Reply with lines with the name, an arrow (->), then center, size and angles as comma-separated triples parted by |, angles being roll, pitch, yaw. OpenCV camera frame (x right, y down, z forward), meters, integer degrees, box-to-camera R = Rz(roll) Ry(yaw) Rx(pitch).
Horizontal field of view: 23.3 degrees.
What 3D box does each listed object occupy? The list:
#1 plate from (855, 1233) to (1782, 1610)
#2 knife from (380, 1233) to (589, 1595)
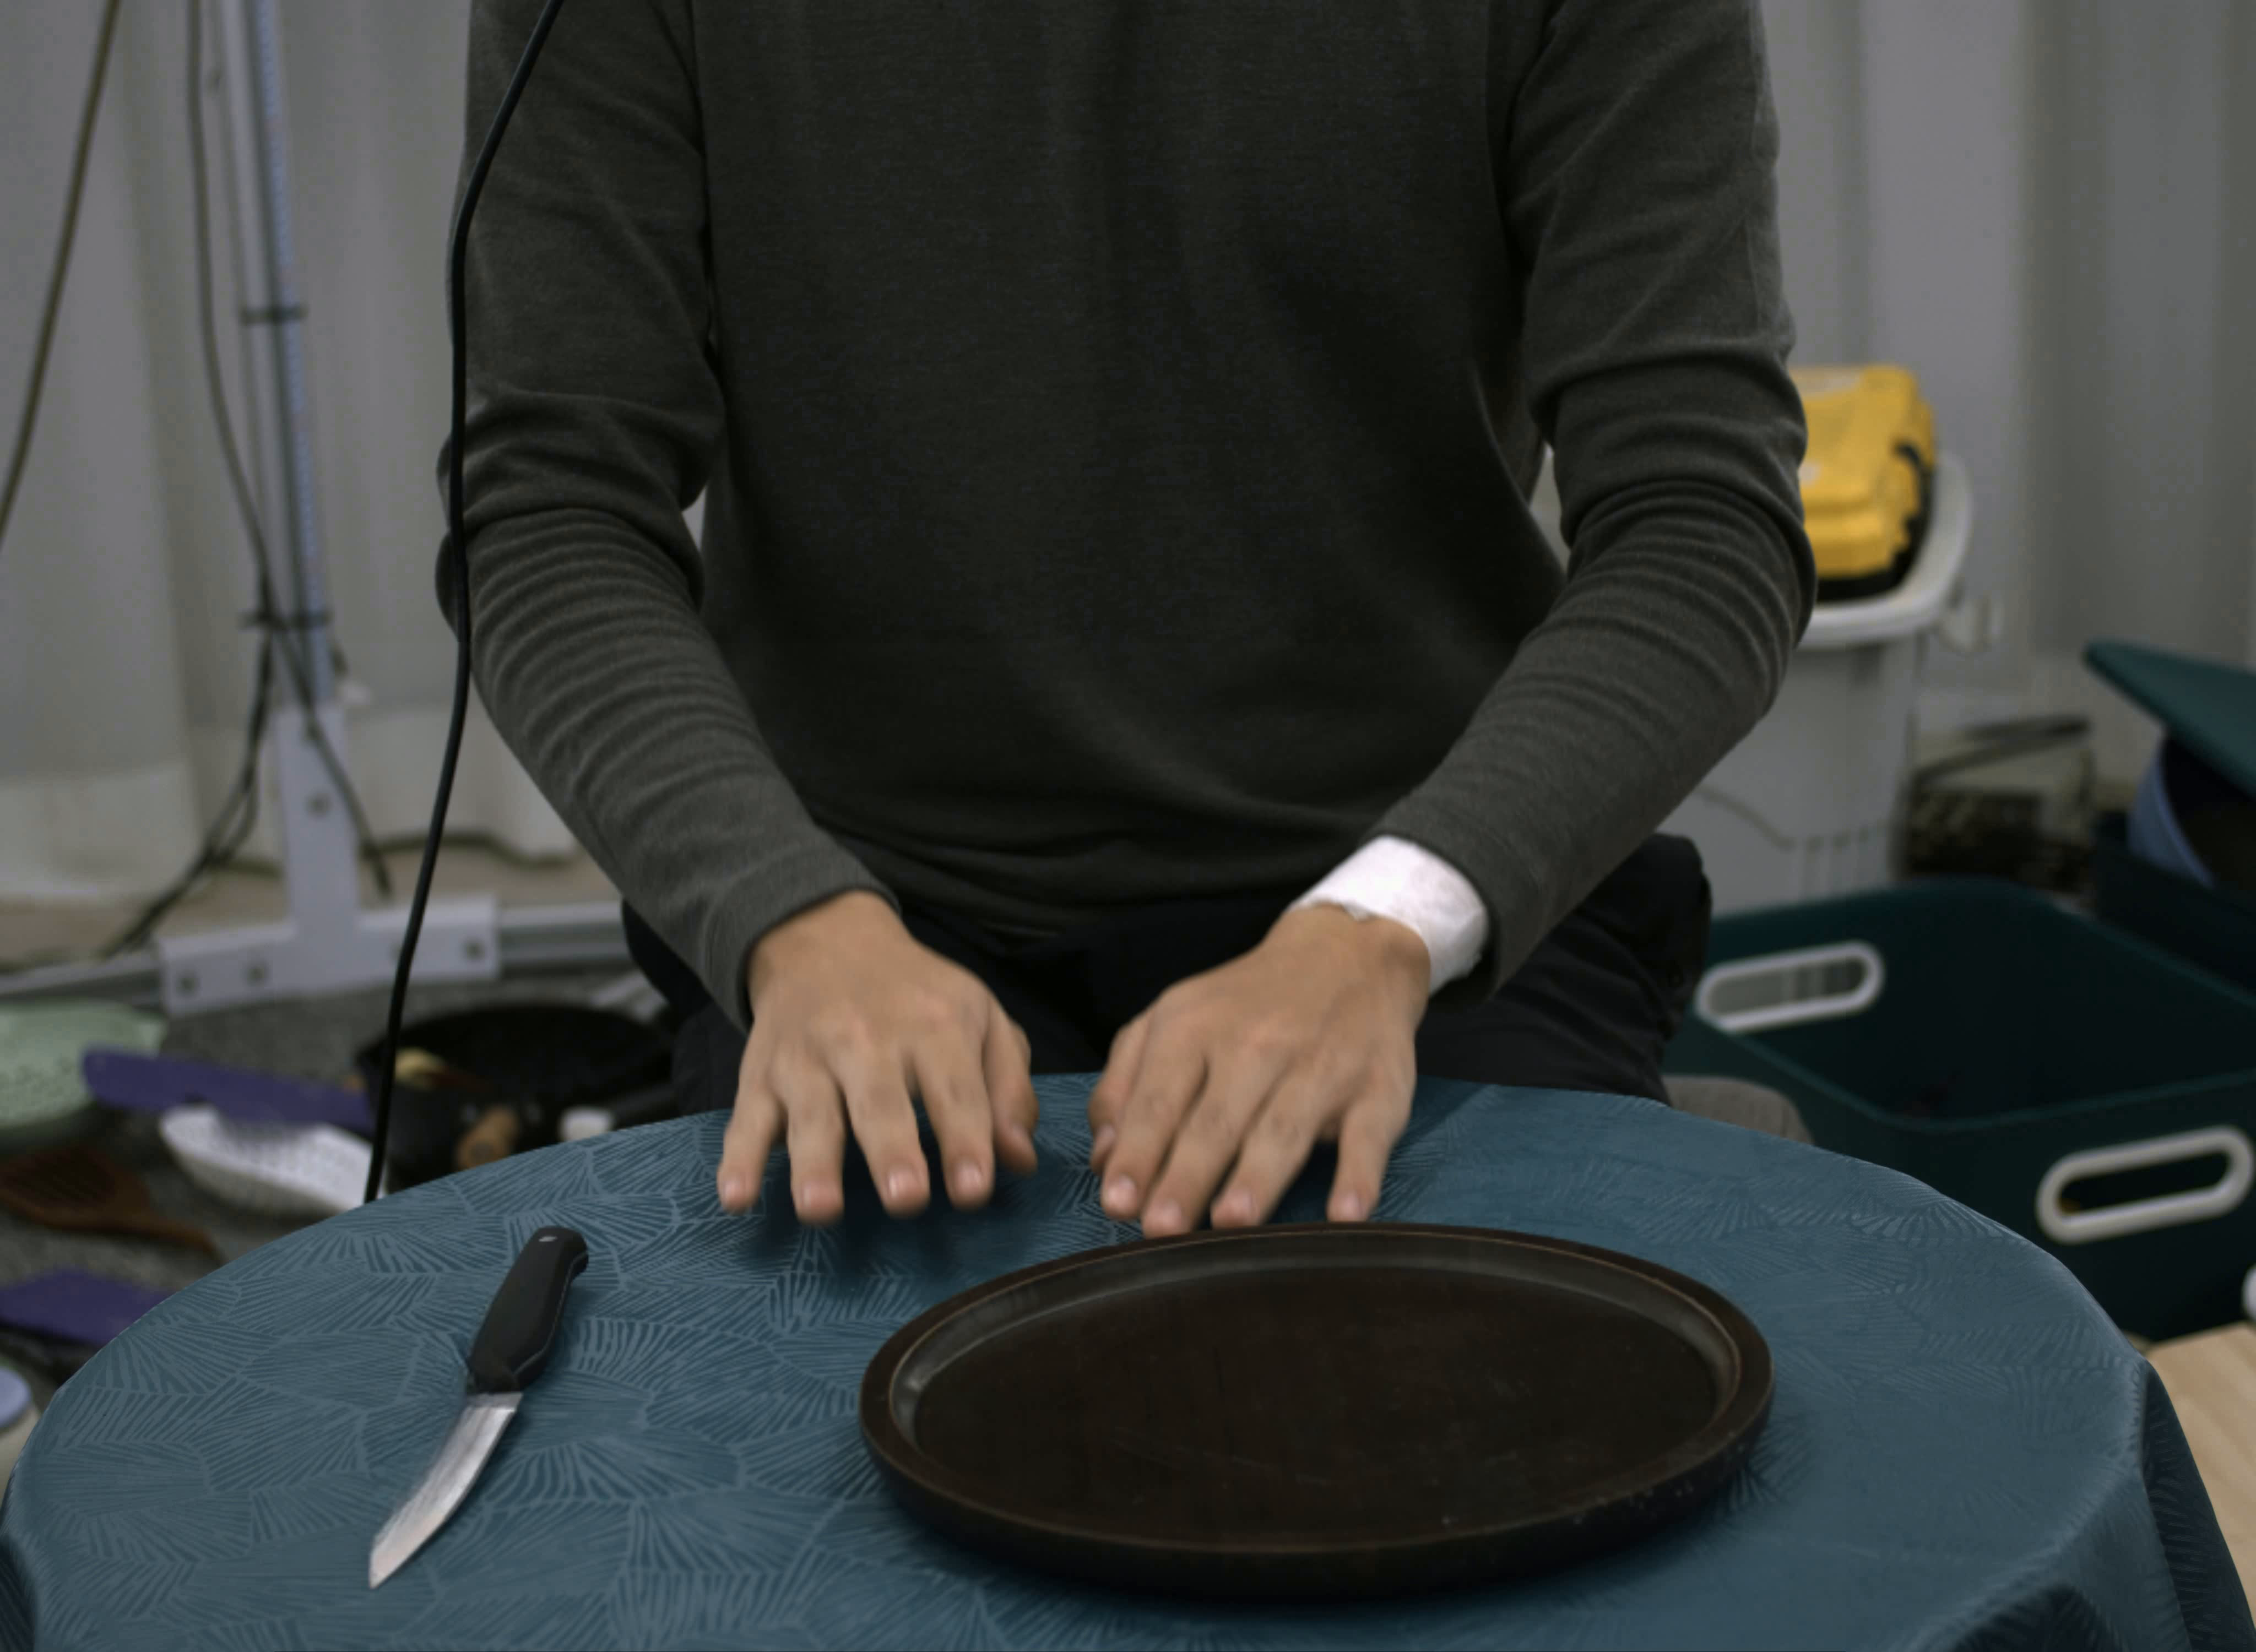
plate -> 0.052, 0.159, 1.495 | 0.254, 0.029, 0.256 | -2, 16, 0
knife -> -0.184, 0.165, 1.542 | 0.024, 0.016, 0.240 | -1, 17, 6
